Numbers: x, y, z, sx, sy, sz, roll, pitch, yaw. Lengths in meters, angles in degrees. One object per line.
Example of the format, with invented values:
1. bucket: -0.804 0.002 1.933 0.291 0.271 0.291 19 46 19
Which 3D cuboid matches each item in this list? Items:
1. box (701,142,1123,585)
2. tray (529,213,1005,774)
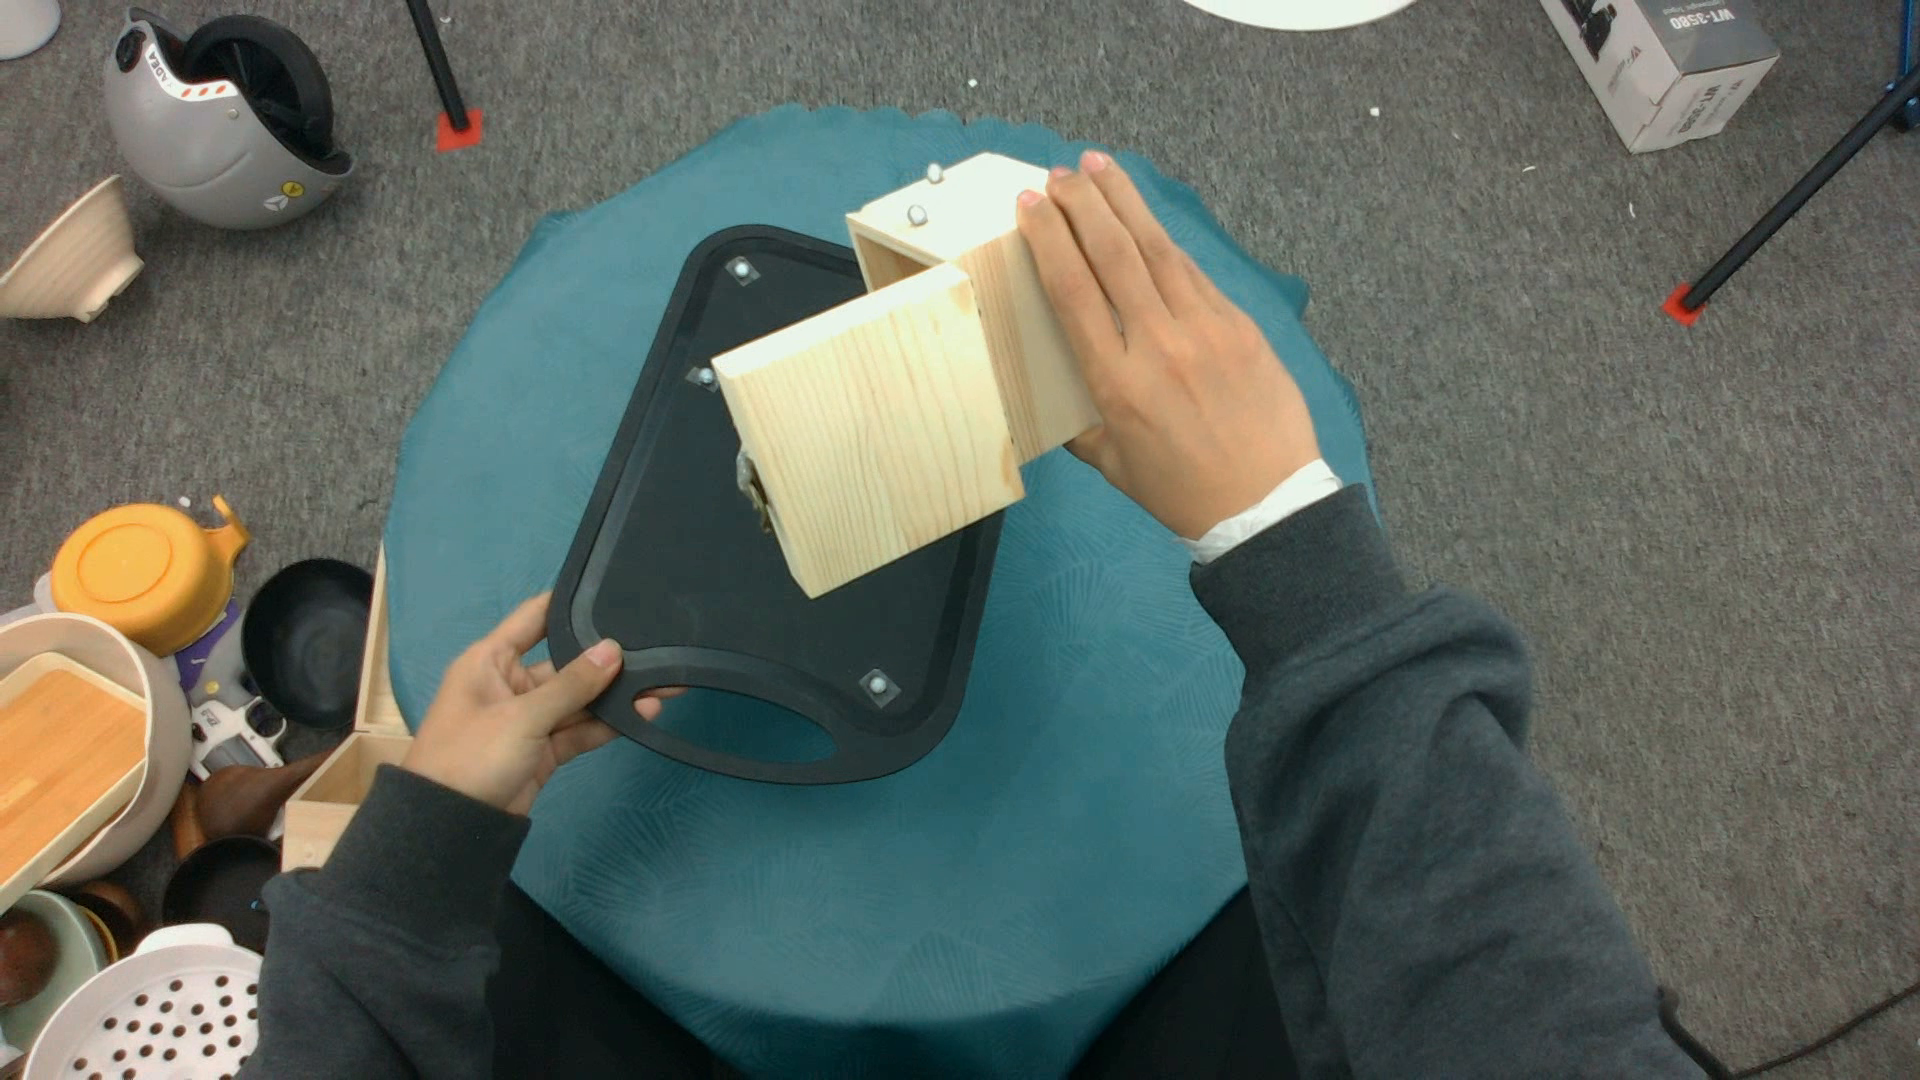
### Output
1. box: -0.033 -0.085 0.598 0.185 0.102 0.134 -28 34 -20
2. tray: -0.087 -0.035 0.726 0.211 0.010 0.327 16 61 -4
